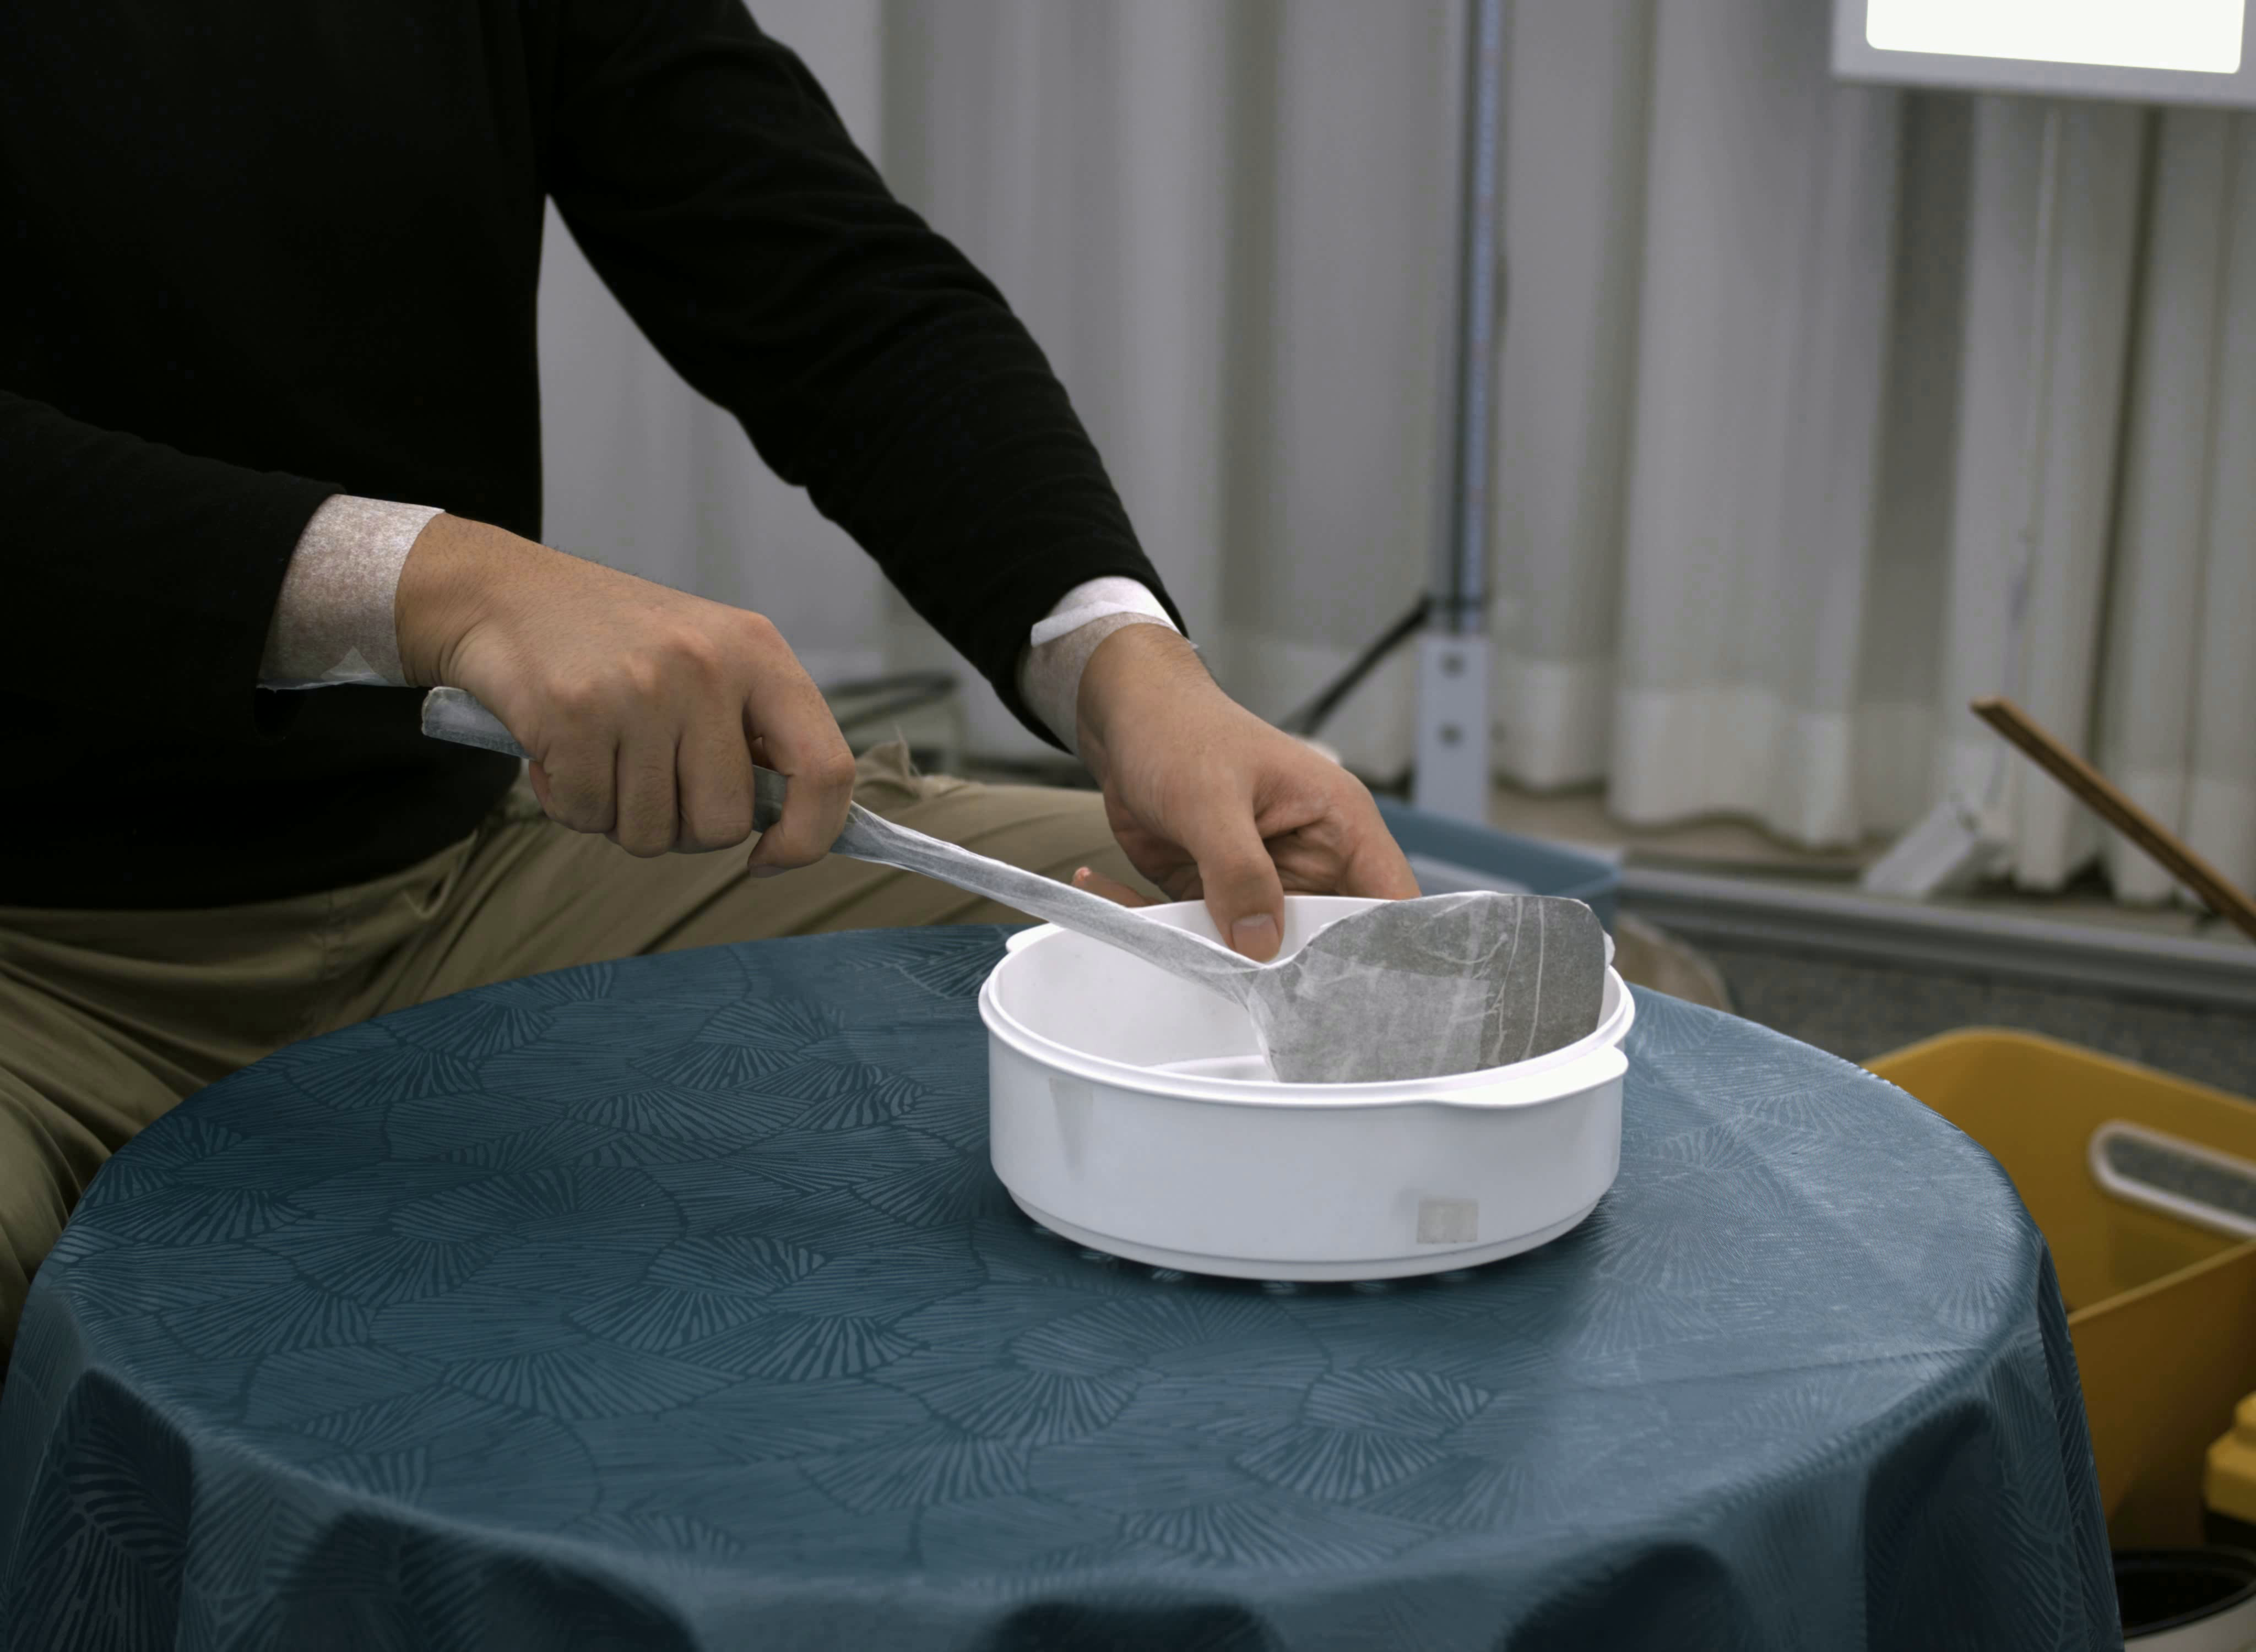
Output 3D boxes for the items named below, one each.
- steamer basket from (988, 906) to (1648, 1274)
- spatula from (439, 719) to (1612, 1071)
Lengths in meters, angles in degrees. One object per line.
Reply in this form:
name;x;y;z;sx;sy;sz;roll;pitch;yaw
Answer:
steamer basket;0.057;0.080;1.607;0.203;0.070;0.227;-12;18;-40
spatula;-0.032;0.019;1.607;0.363;0.099;0.044;18;33;4
